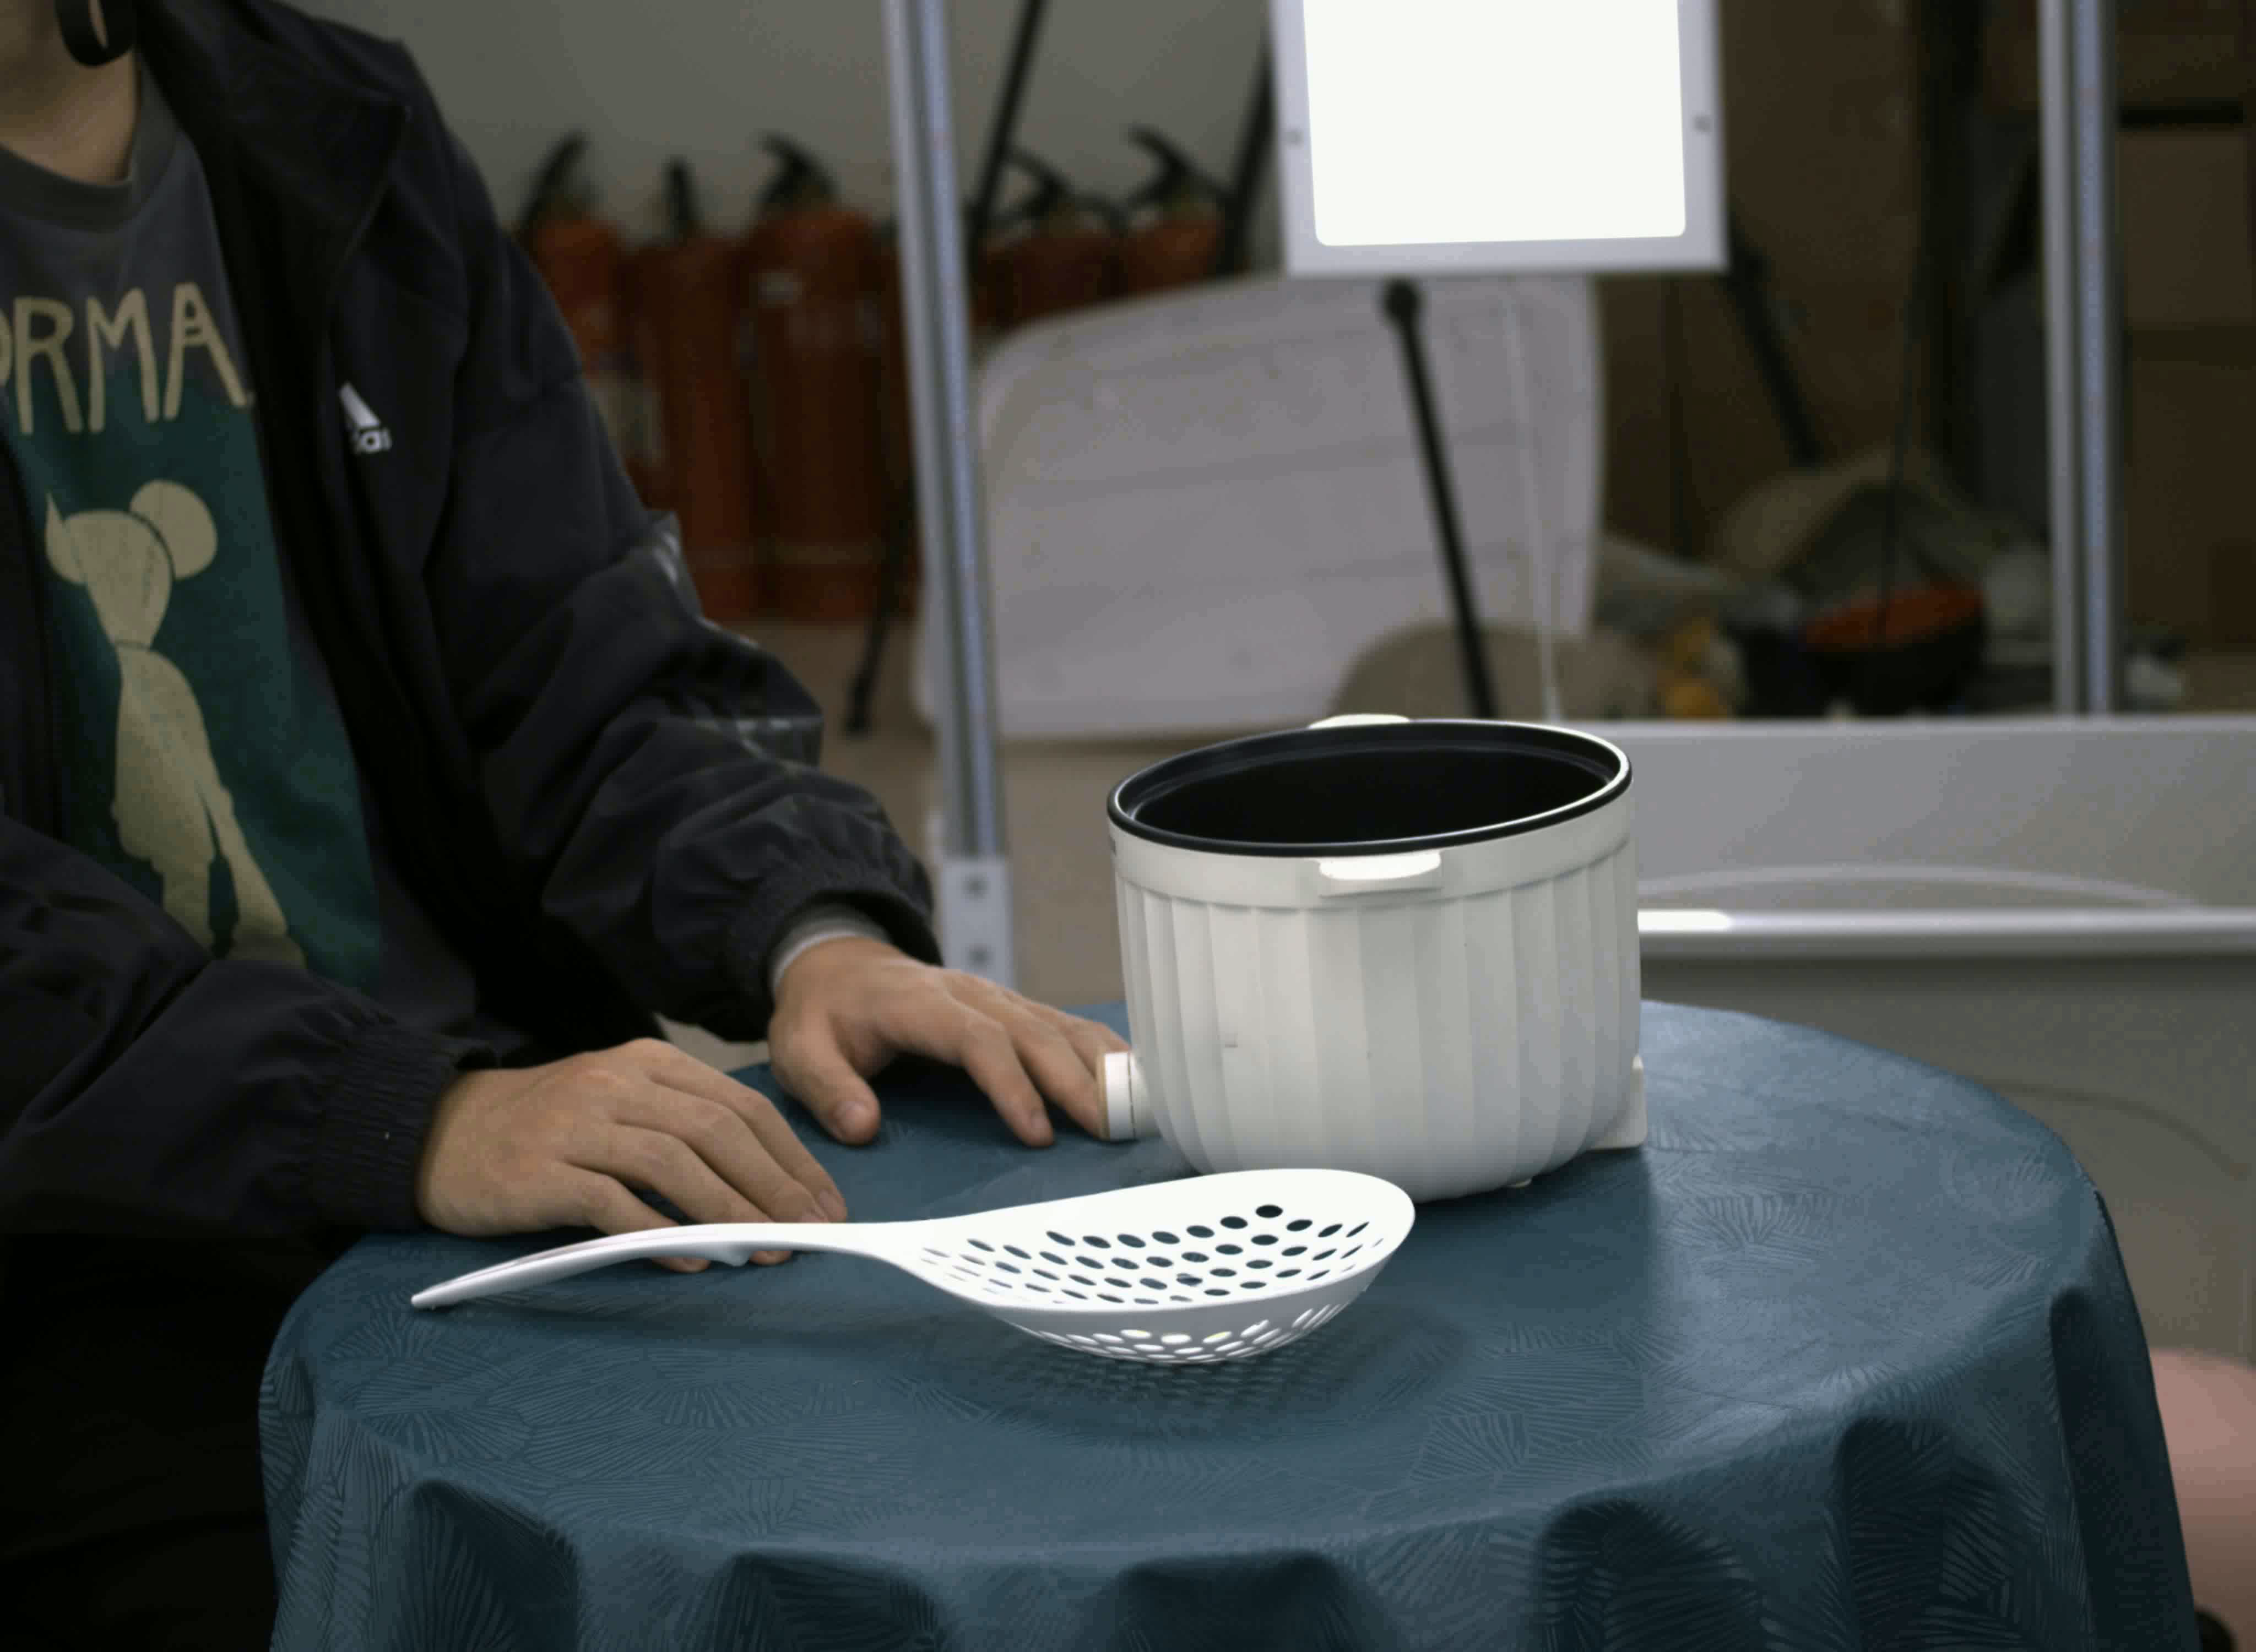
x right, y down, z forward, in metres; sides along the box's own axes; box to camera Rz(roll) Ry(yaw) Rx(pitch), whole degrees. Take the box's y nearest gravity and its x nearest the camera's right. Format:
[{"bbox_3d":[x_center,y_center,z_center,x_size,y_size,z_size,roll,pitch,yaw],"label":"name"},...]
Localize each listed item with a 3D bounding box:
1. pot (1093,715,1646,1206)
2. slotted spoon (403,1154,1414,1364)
[{"bbox_3d":[0.082,0.049,1.893,0.190,0.143,0.239,-2,12,1],"label":"pot"},{"bbox_3d":[-0.077,0.143,1.771,0.353,0.050,0.134,2,16,23],"label":"slotted spoon"}]
